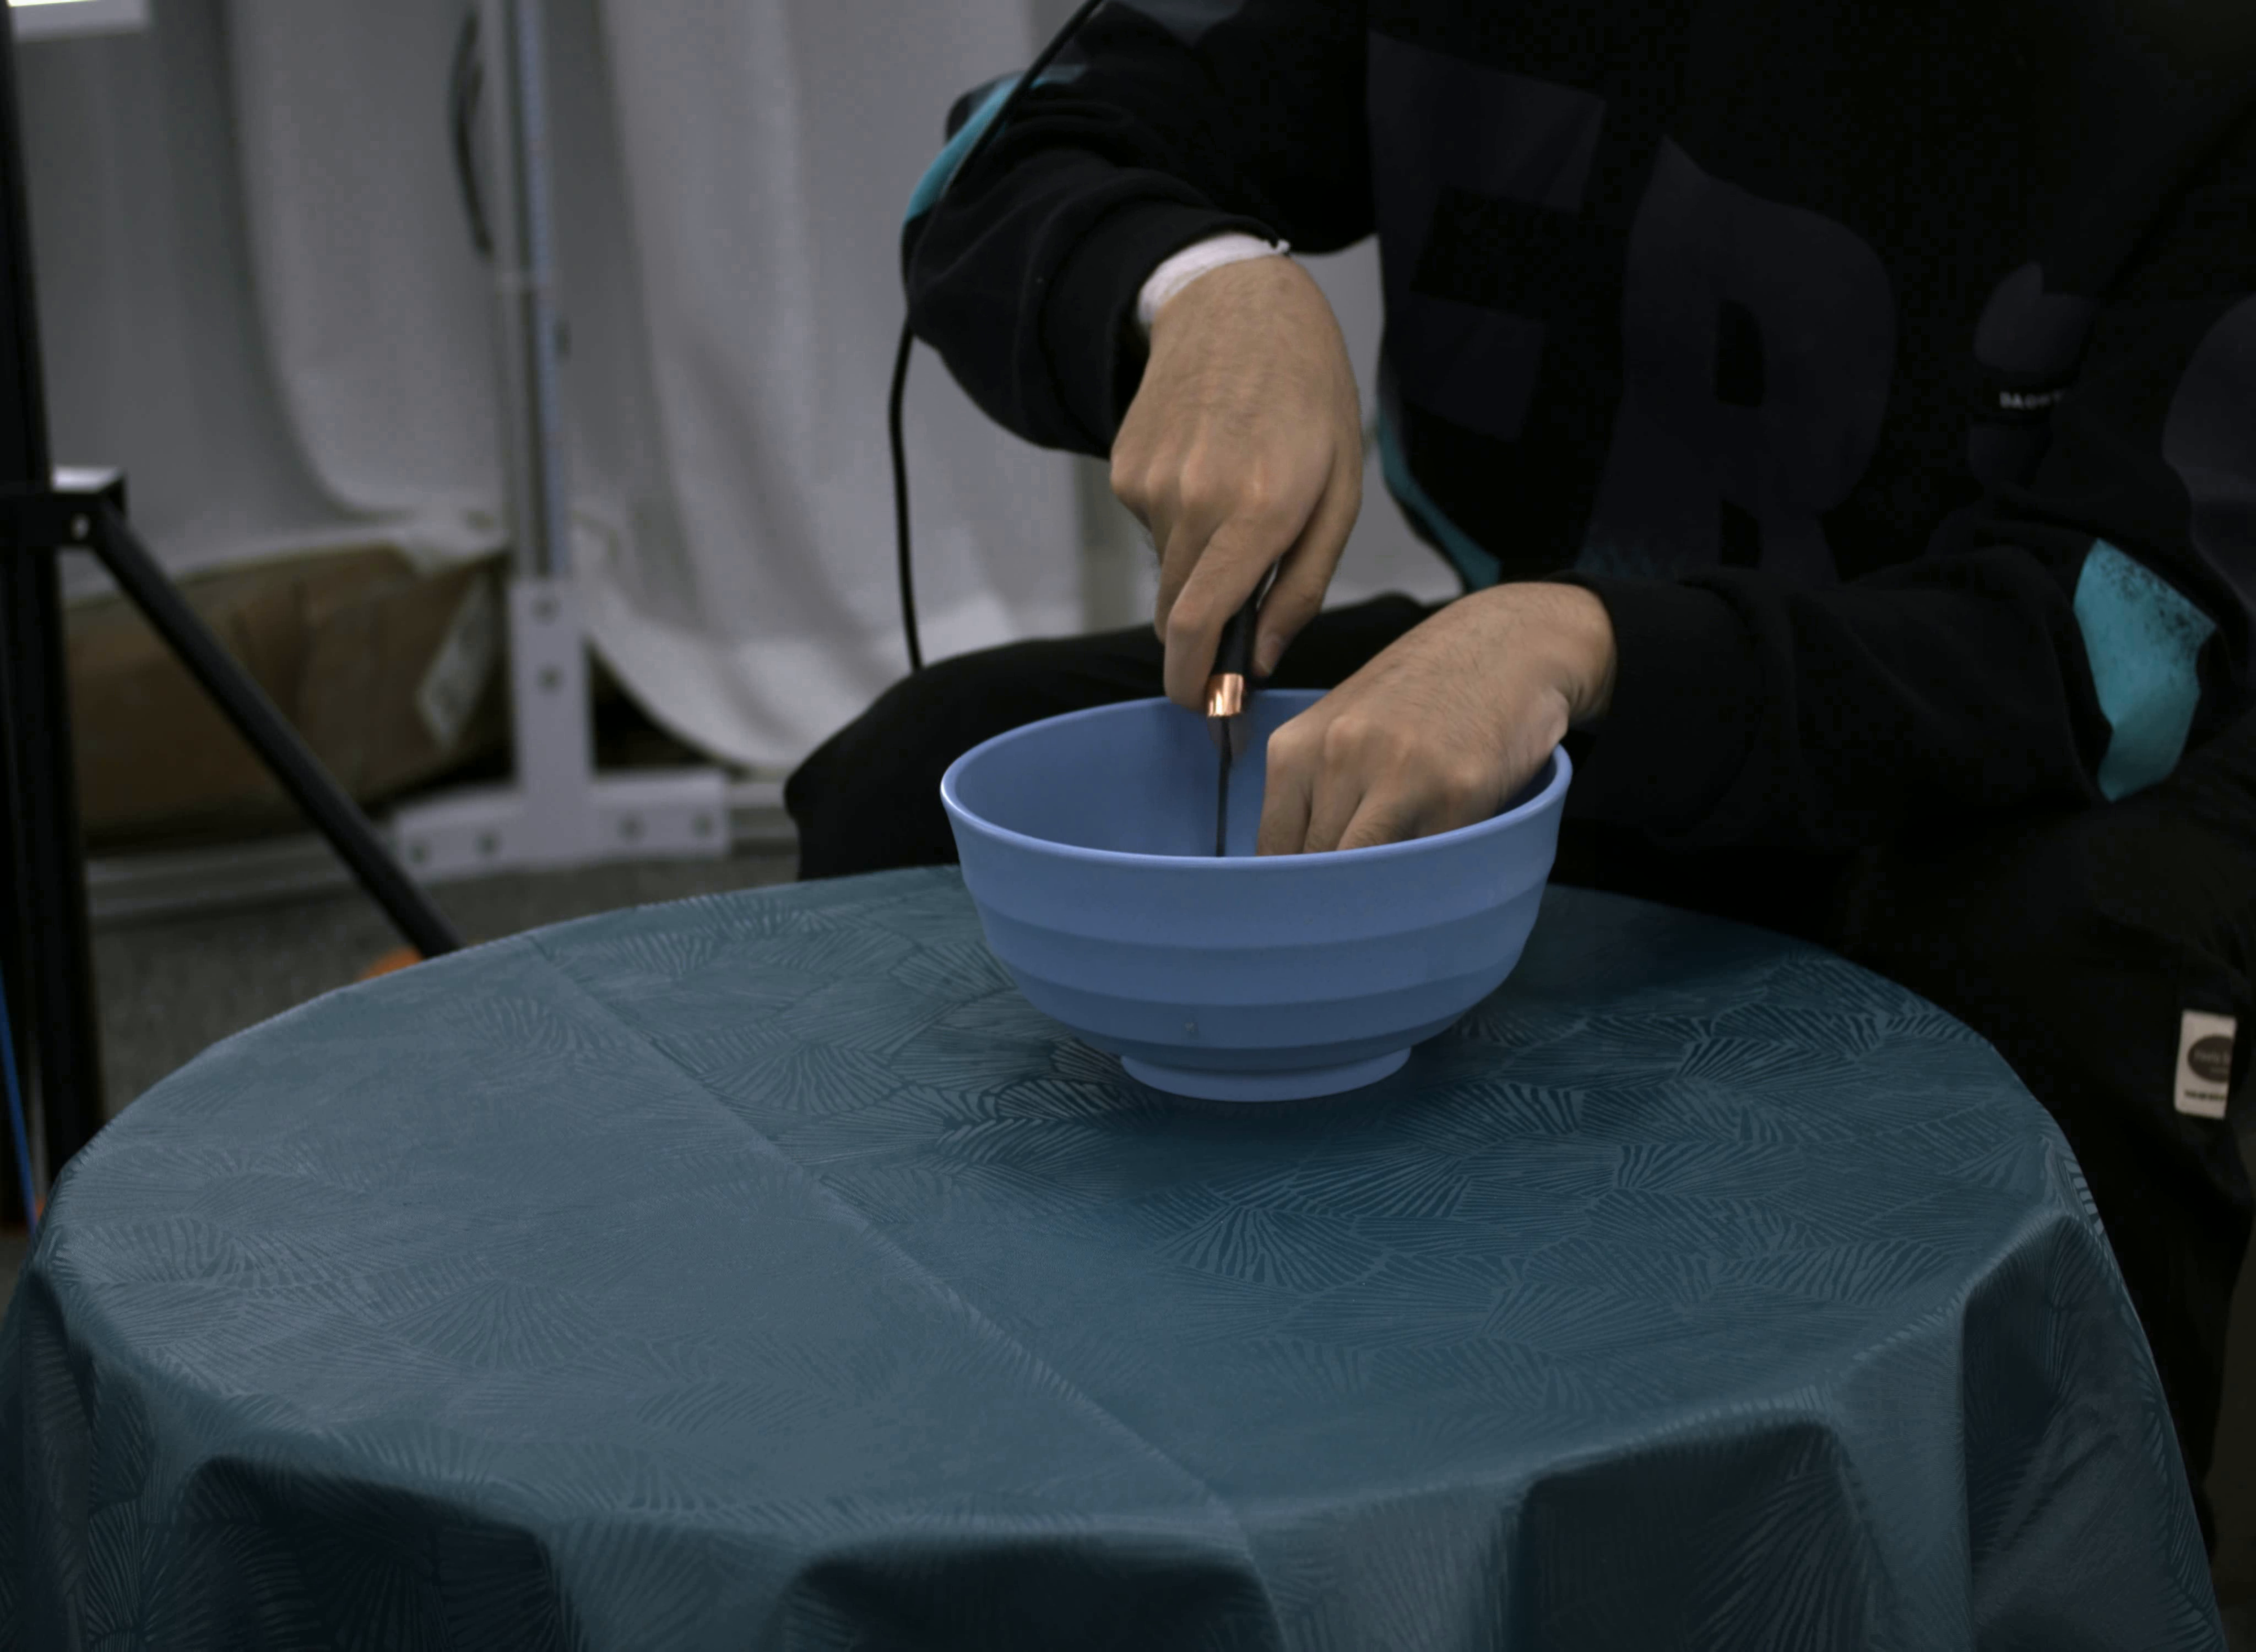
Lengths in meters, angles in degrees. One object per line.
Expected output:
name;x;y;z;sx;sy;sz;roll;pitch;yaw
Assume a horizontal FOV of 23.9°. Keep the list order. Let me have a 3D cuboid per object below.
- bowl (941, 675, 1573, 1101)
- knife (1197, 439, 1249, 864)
bowl;0.042;0.026;1.658;0.195;0.095;0.197;-3;18;0
knife;0.030;-0.026;1.712;0.017;0.026;0.228;0;60;2
